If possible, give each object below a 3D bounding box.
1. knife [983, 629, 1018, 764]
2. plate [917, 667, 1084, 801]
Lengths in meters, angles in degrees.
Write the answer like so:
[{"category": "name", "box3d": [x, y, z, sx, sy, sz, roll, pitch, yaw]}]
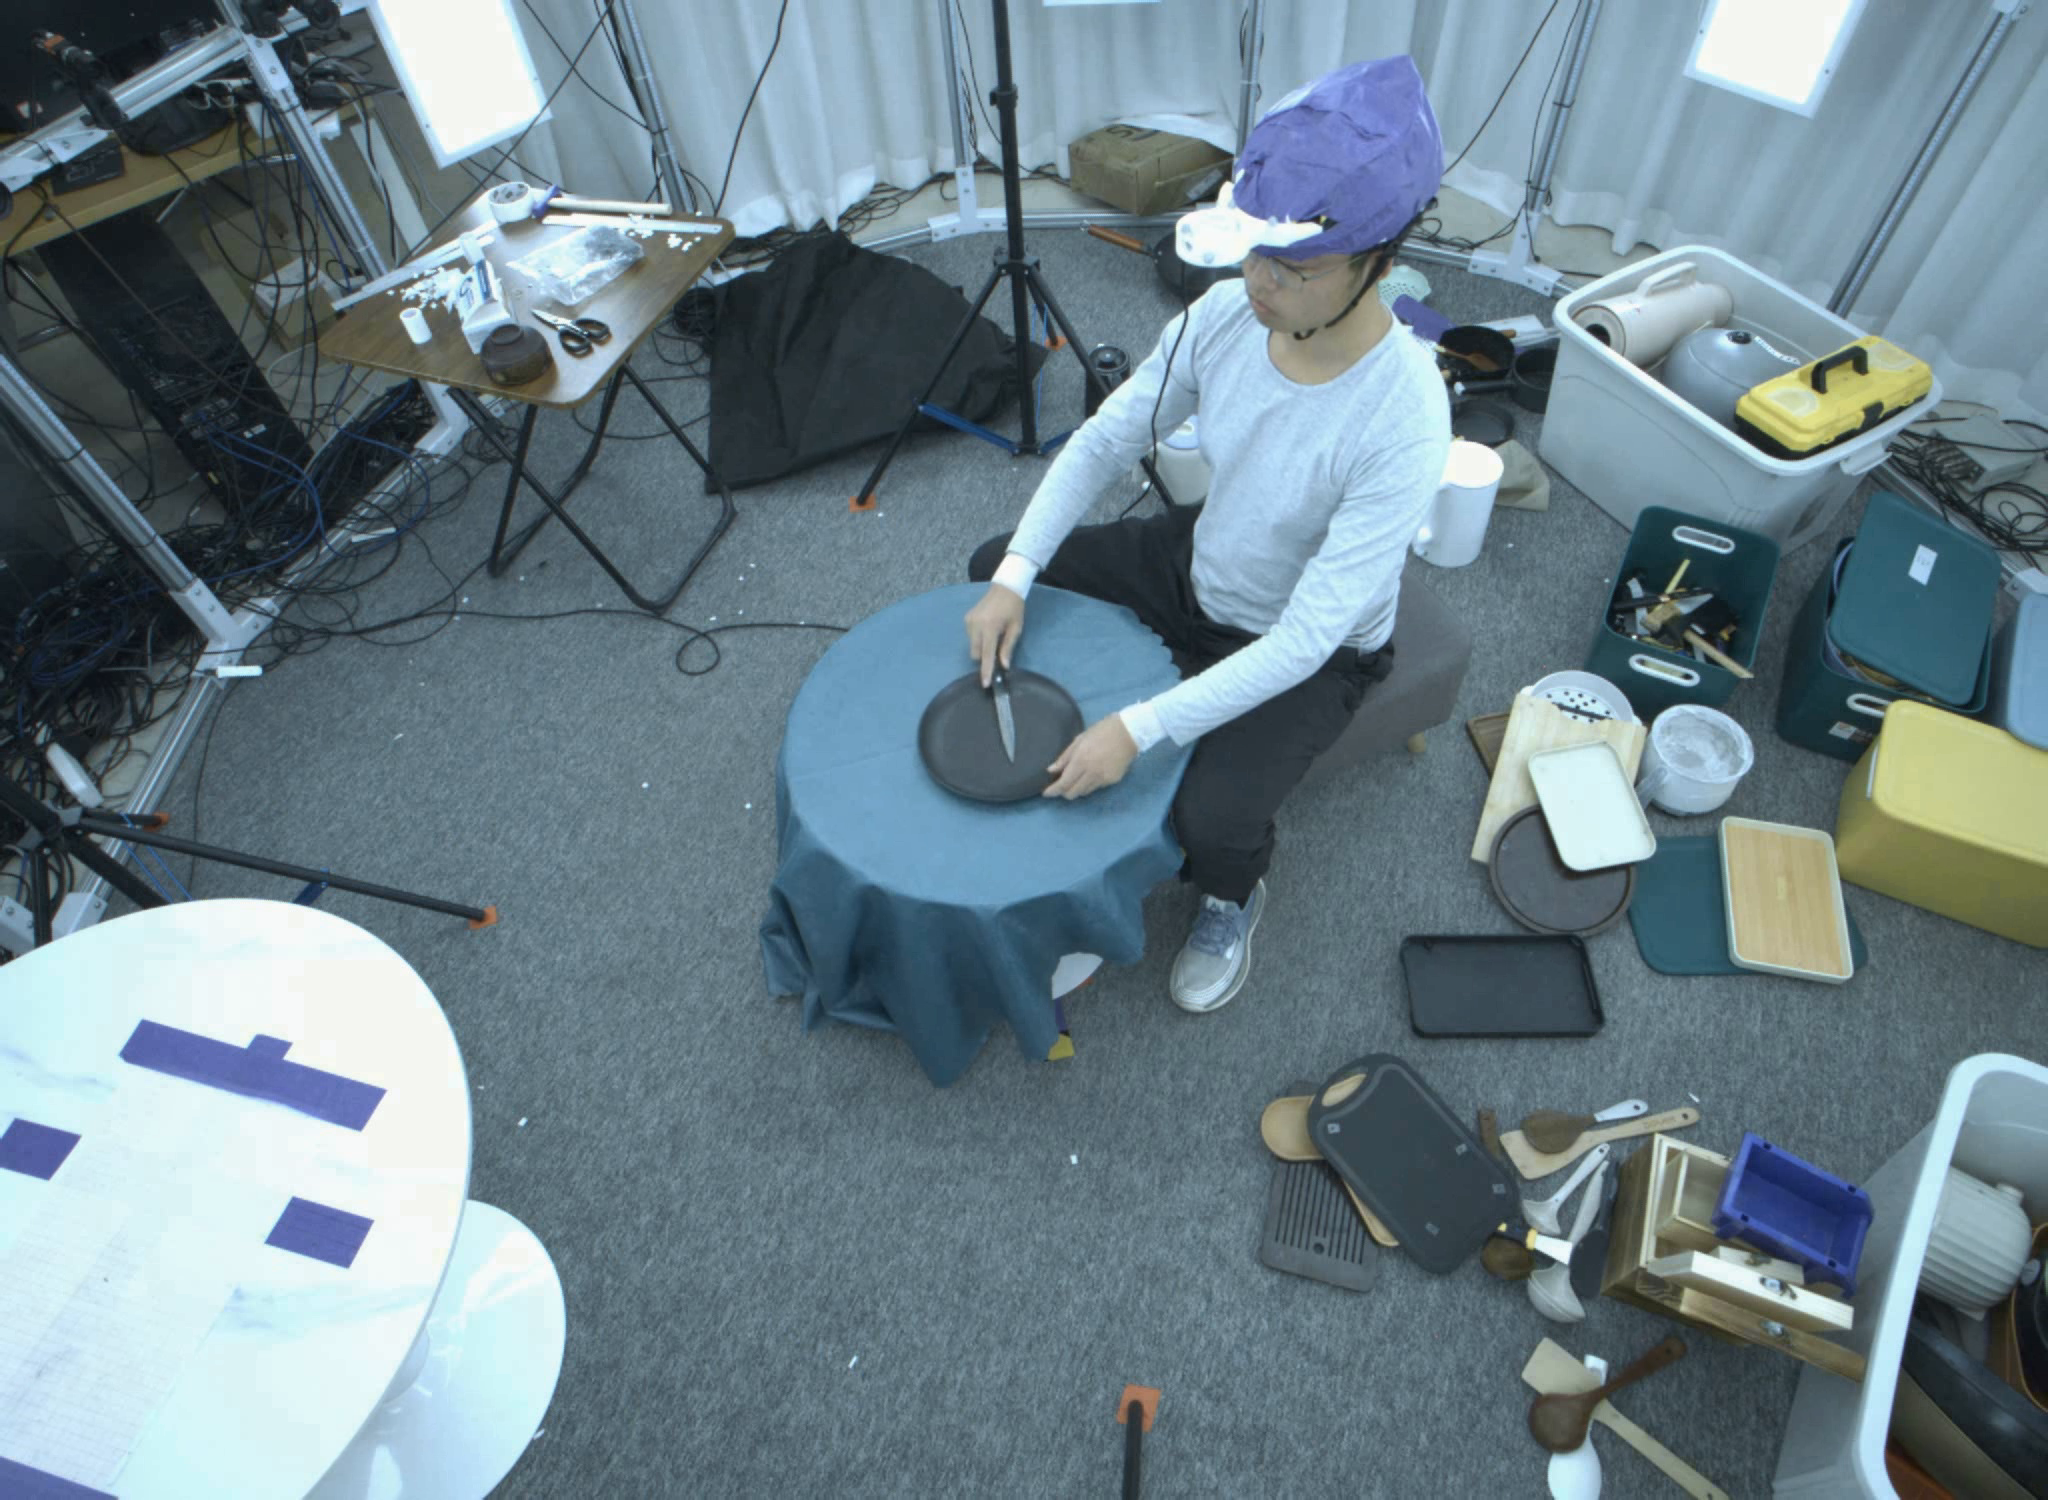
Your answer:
[{"category": "knife", "box3d": [-0.036, -0.082, 1.824, 0.025, 0.016, 0.235, -1, 60, -20]}, {"category": "plate", "box3d": [-0.034, -0.022, 1.797, 0.244, 0.023, 0.242, 0, 55, 2]}]
